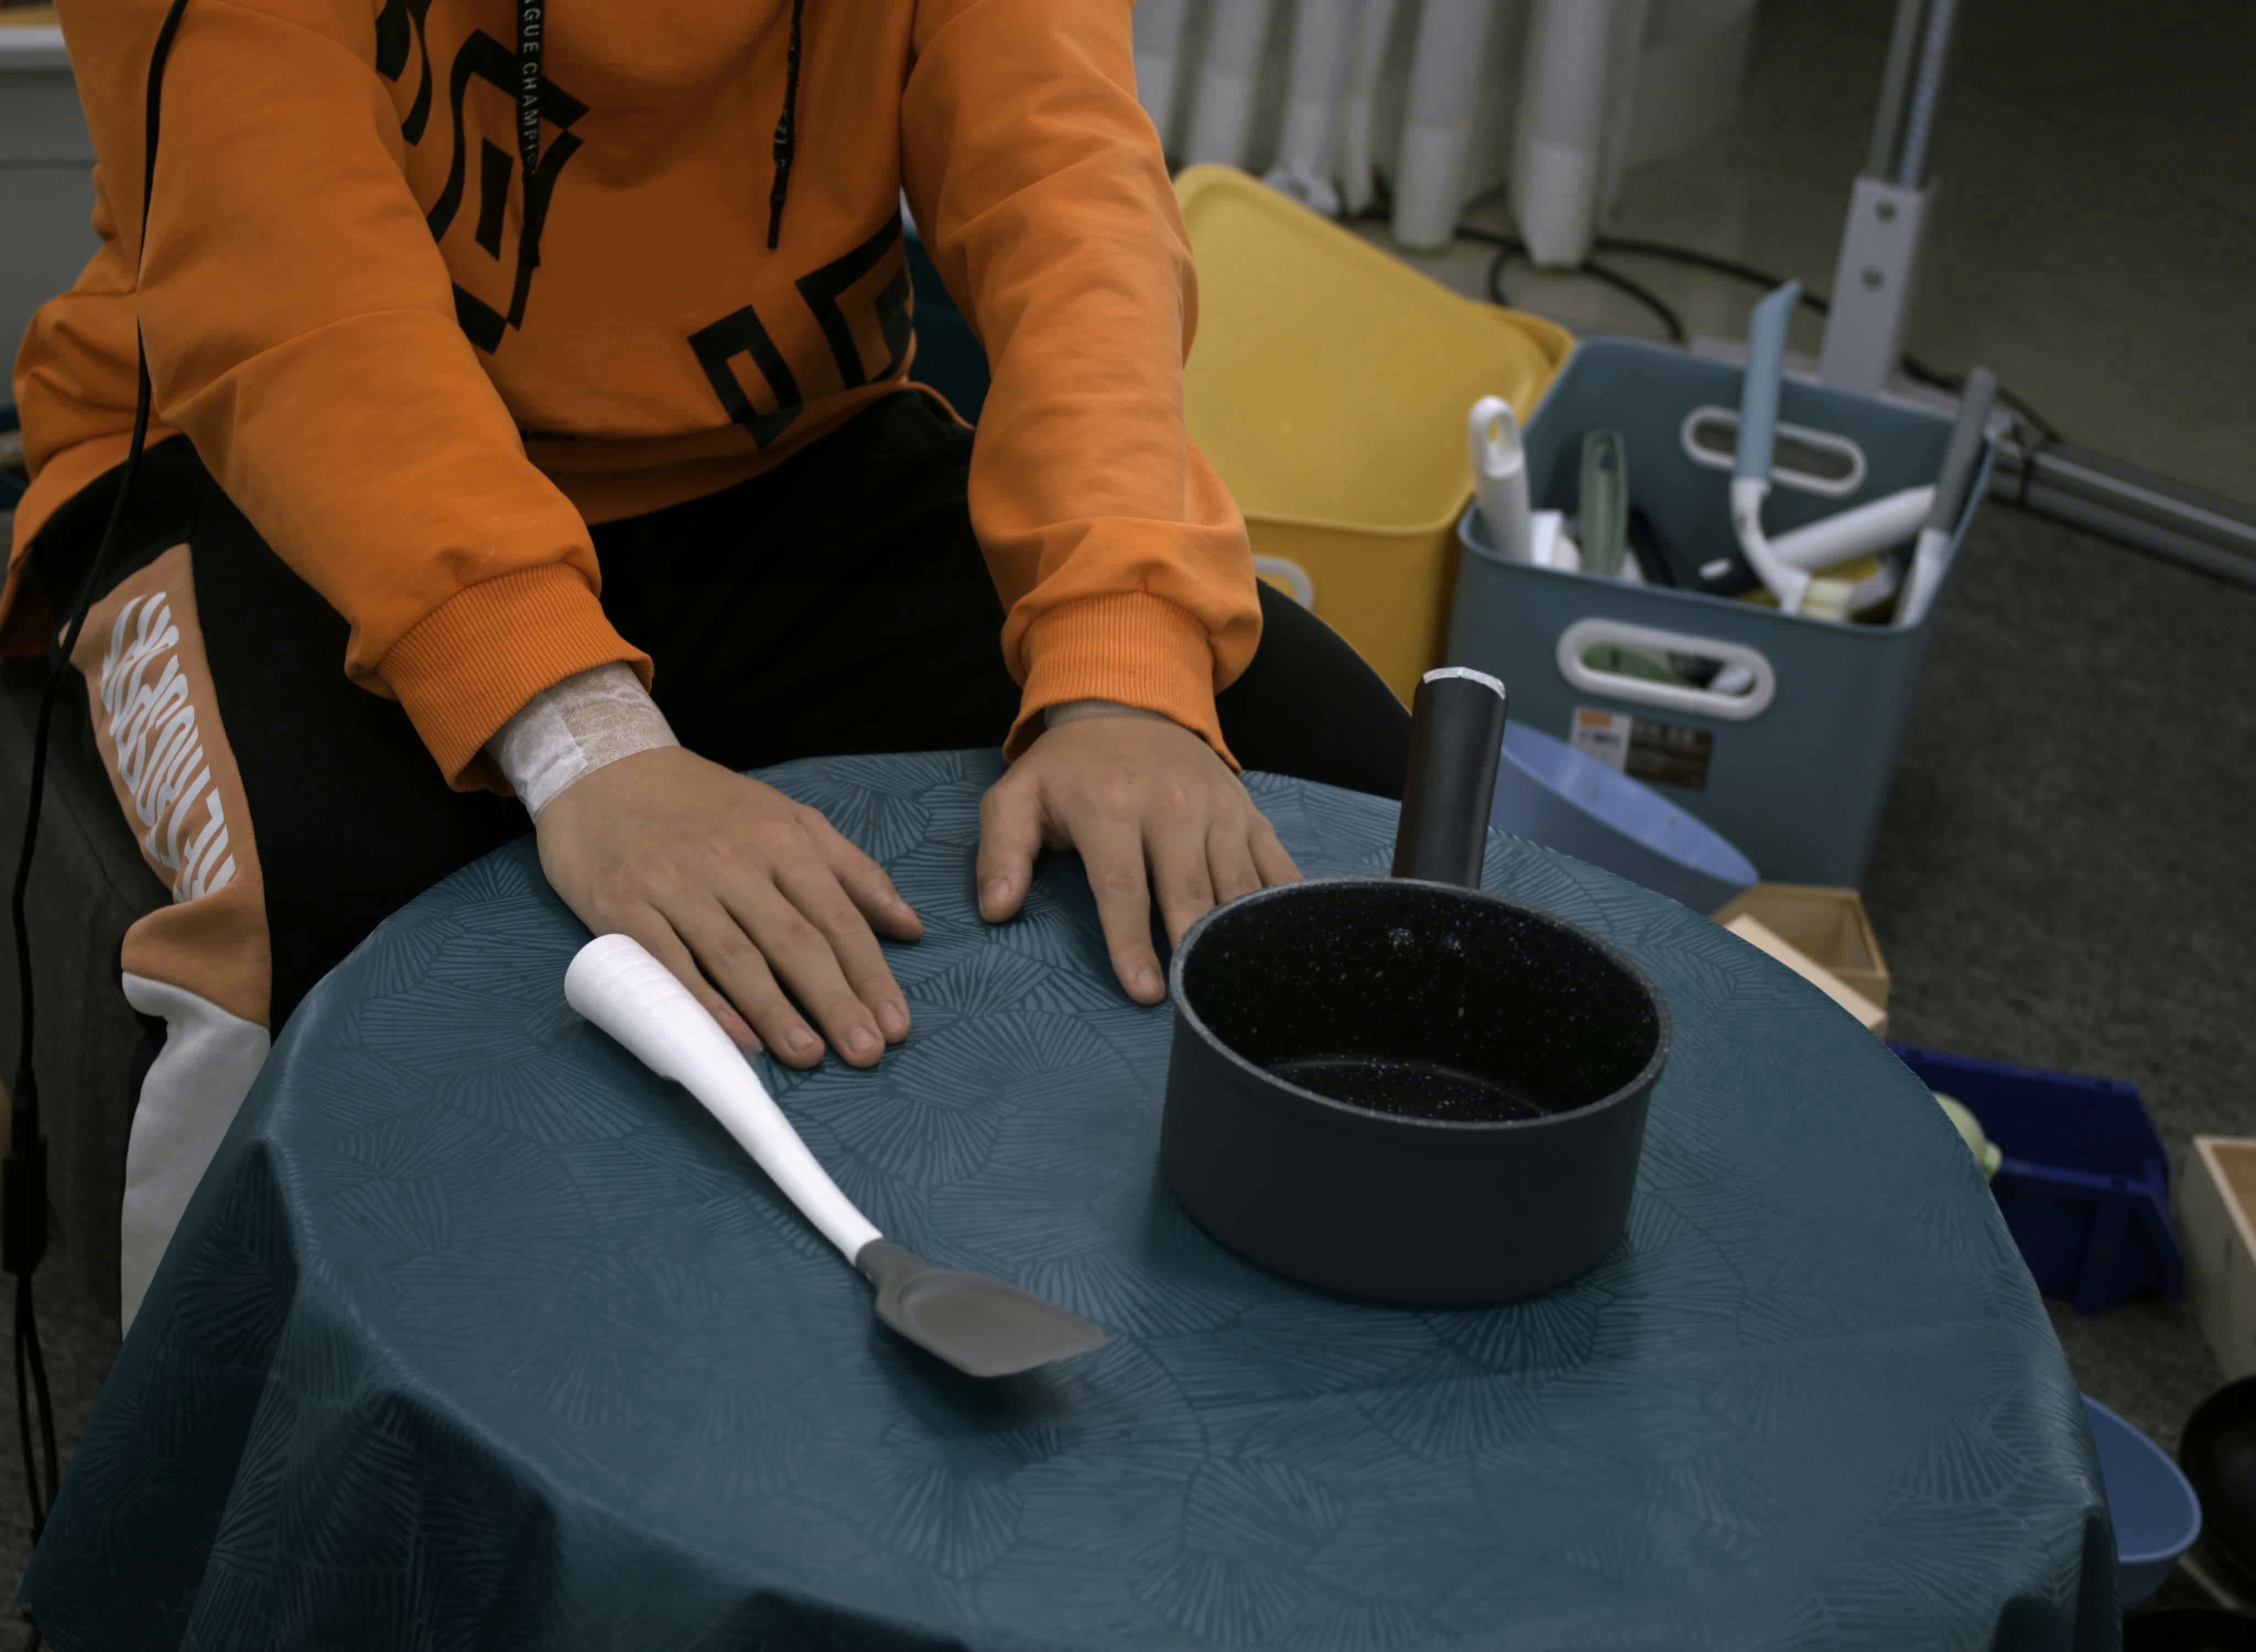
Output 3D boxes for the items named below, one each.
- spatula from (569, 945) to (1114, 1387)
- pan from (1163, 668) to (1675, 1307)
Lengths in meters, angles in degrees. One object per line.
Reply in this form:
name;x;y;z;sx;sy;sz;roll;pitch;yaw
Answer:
spatula;-0.103;0.116;1.760;0.058;0.032;0.290;-9;30;-34
pan;0.107;0.052;1.874;0.172;0.086;0.330;10;29;5
